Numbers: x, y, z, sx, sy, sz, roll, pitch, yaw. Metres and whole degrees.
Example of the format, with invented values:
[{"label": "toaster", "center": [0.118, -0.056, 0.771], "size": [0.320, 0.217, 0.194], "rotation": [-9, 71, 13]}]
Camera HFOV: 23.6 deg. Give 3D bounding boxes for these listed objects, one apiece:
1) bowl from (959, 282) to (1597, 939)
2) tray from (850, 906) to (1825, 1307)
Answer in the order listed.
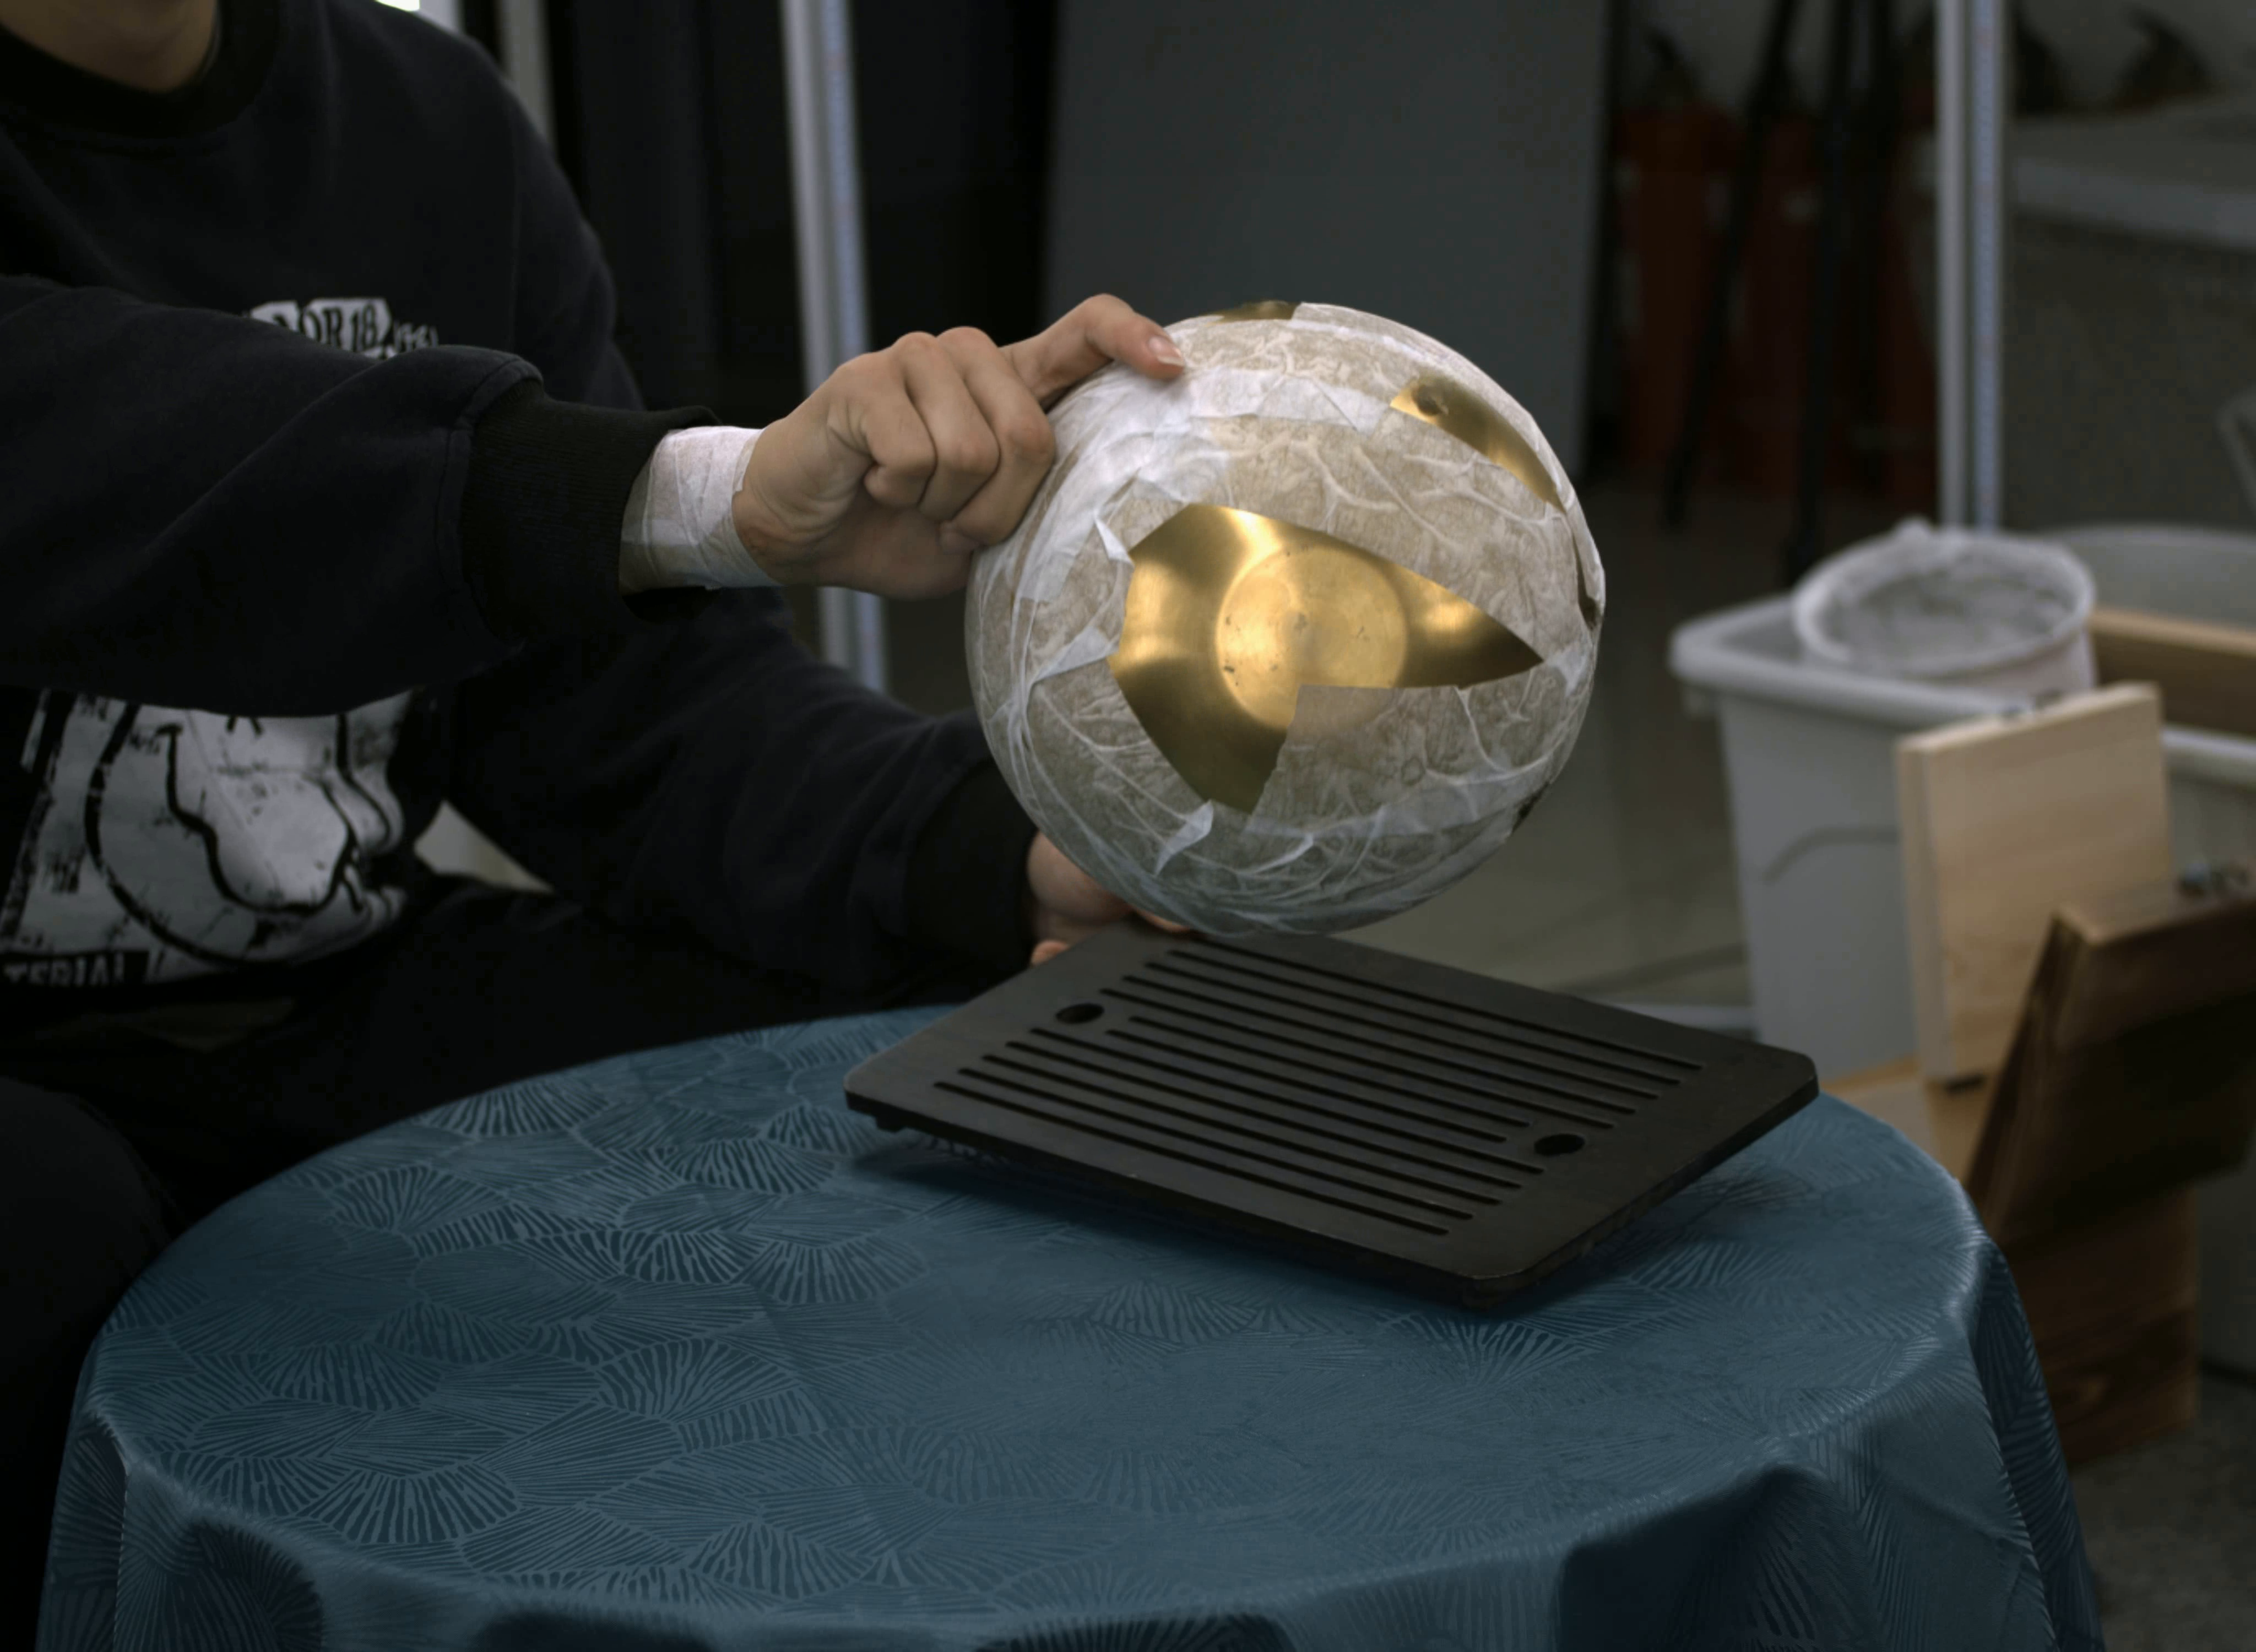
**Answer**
[{"label": "bowl", "center": [0.048, -0.059, 1.645], "size": [0.211, 0.217, 0.095], "rotation": [-4, 6, -3]}, {"label": "tray", "center": [0.065, 0.088, 1.774], "size": [0.309, 0.019, 0.167], "rotation": [12, 31, 44]}]
